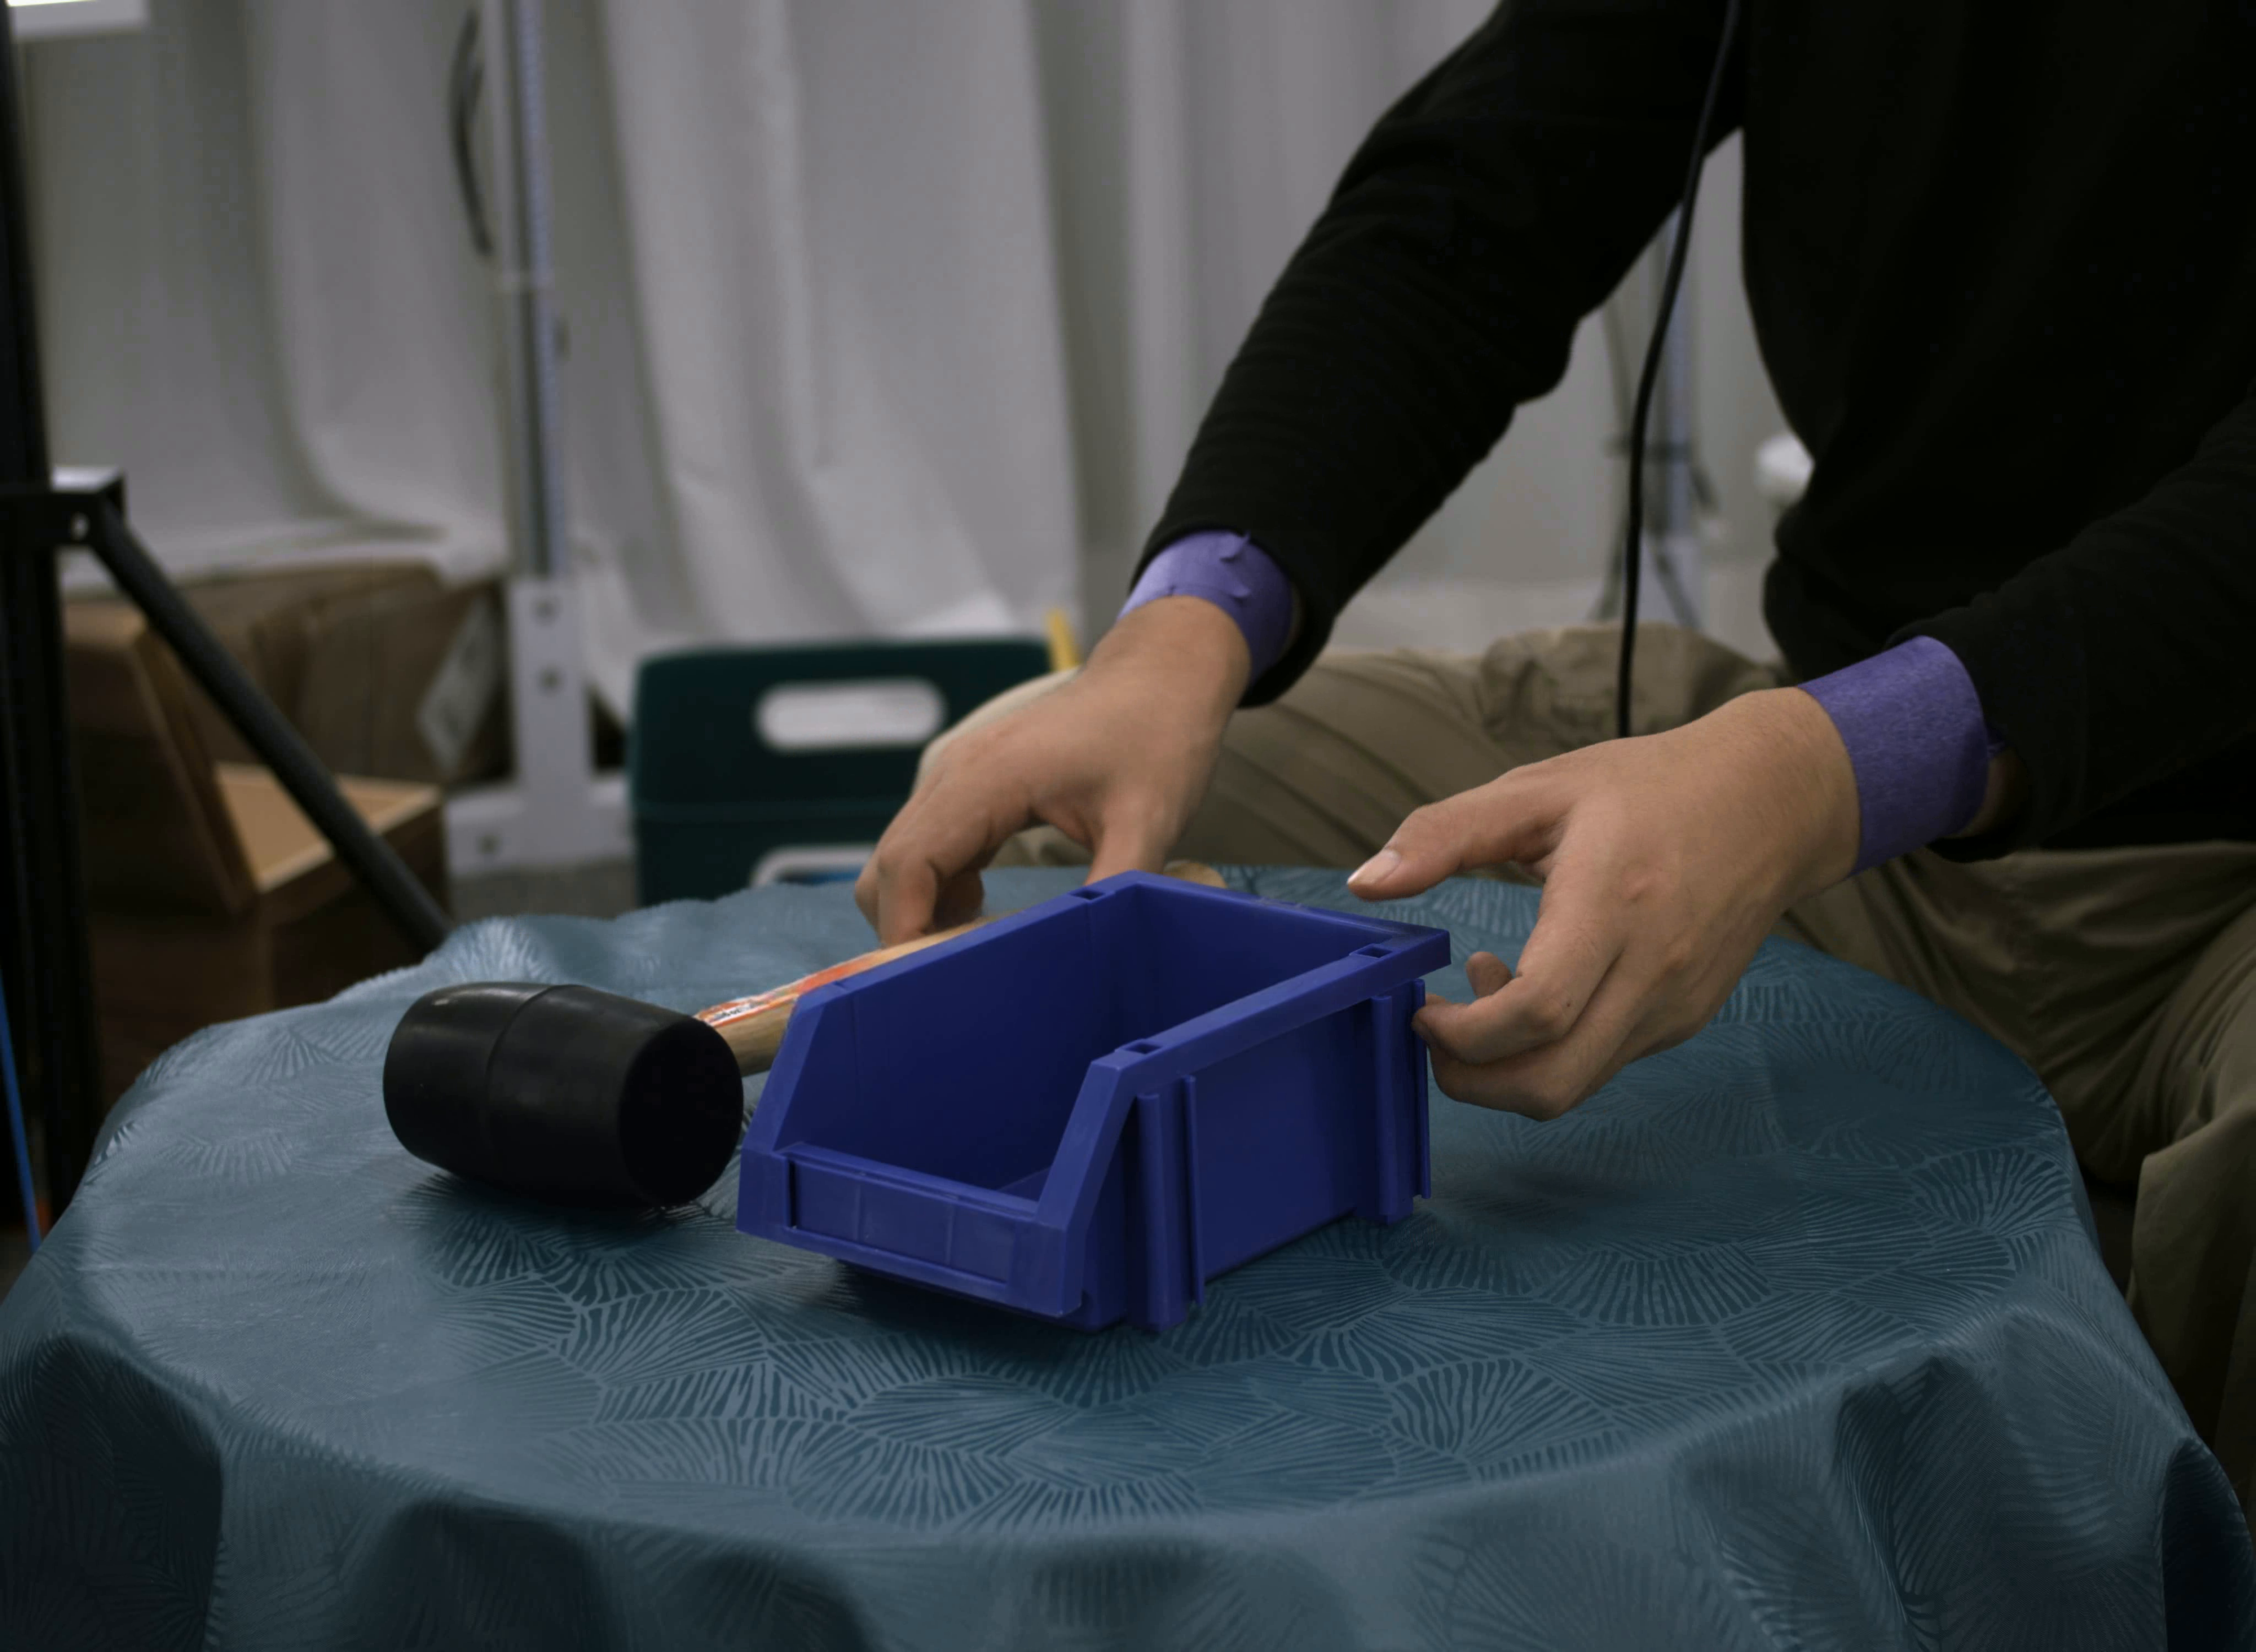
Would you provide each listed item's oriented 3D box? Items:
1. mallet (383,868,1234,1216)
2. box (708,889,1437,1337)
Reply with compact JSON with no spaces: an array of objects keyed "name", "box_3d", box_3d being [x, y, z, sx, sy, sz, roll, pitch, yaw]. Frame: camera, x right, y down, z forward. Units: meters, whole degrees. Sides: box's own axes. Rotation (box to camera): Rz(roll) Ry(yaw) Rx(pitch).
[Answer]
[{"name":"mallet","box_3d":[-0.082,0.048,1.670,0.104,0.064,0.331,11,20,38]},{"name":"box","box_3d":[-0.013,0.083,1.498,0.127,0.082,0.175,12,18,41]}]
